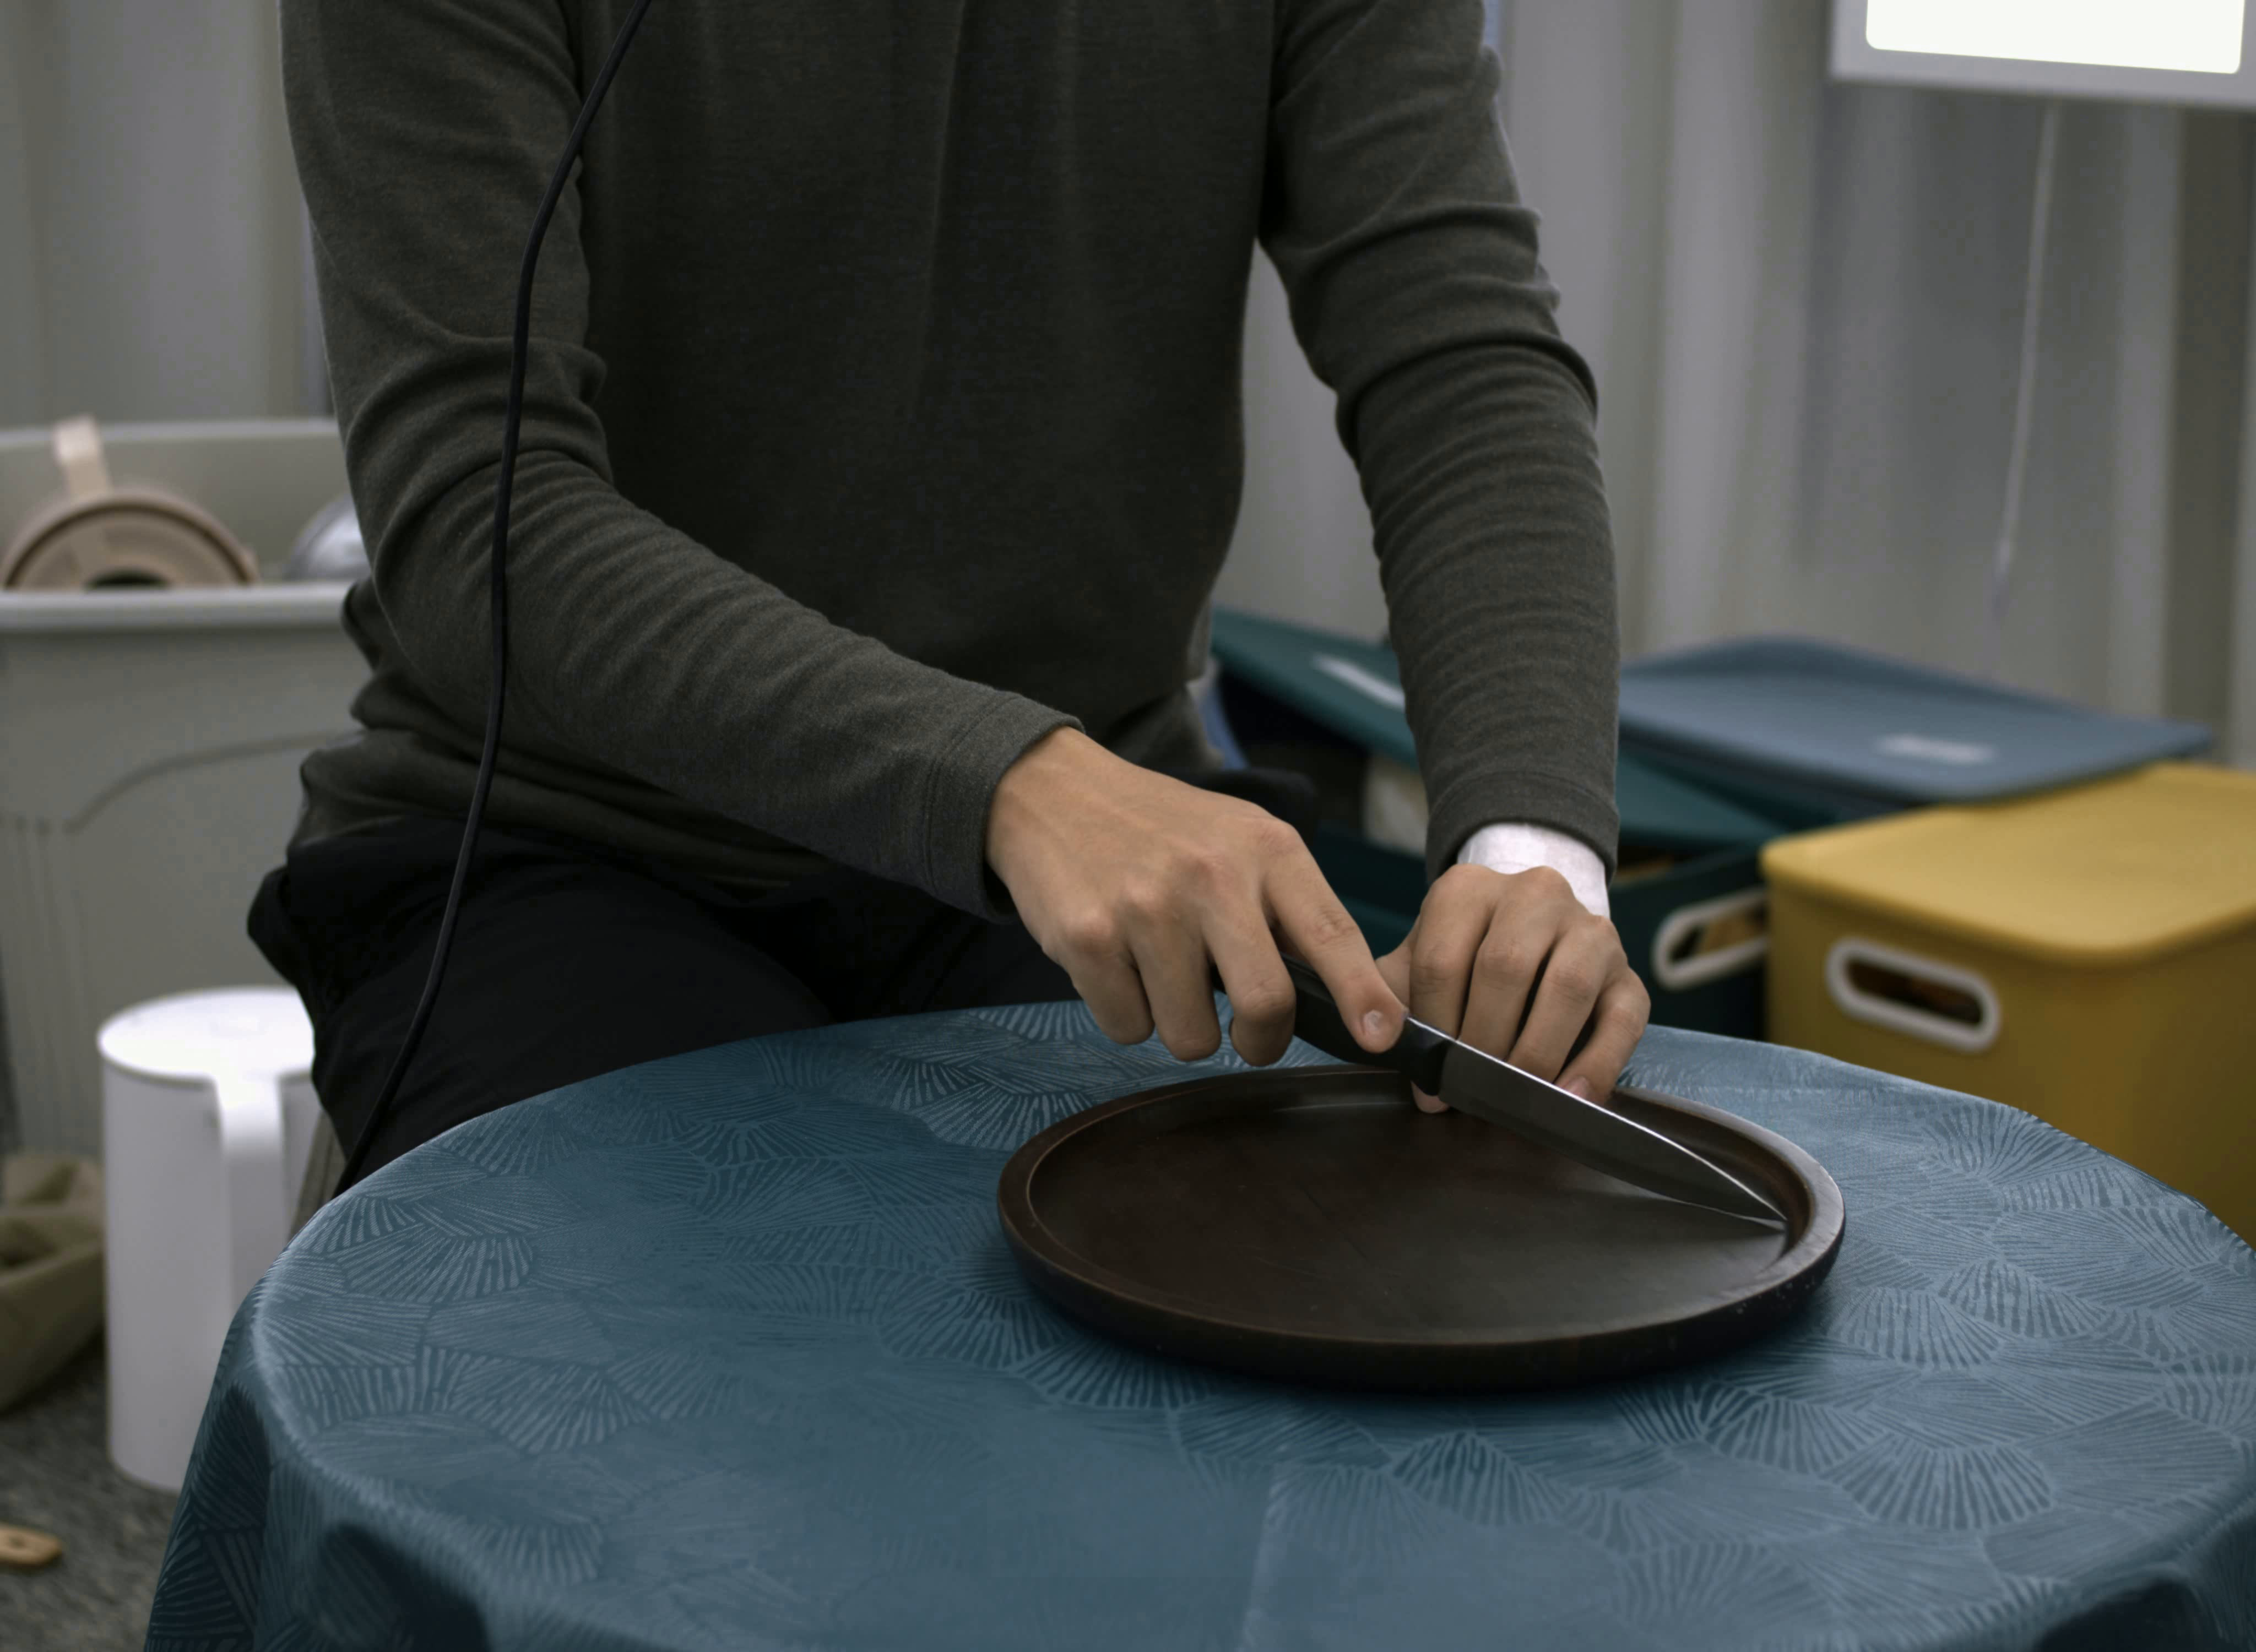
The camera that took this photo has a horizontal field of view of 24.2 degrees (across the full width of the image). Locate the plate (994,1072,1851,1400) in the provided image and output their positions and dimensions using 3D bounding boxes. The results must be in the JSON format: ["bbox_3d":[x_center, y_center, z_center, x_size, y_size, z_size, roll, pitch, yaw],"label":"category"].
[{"bbox_3d":[0.087,0.118,1.565,0.254,0.029,0.253,2,16,0],"label":"plate"}]

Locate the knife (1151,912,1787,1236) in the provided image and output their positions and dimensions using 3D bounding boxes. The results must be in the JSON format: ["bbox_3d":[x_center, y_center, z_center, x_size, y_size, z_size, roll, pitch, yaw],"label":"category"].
[{"bbox_3d":[0.104,0.075,1.618,0.235,0.024,0.016,25,22,29],"label":"knife"}]
